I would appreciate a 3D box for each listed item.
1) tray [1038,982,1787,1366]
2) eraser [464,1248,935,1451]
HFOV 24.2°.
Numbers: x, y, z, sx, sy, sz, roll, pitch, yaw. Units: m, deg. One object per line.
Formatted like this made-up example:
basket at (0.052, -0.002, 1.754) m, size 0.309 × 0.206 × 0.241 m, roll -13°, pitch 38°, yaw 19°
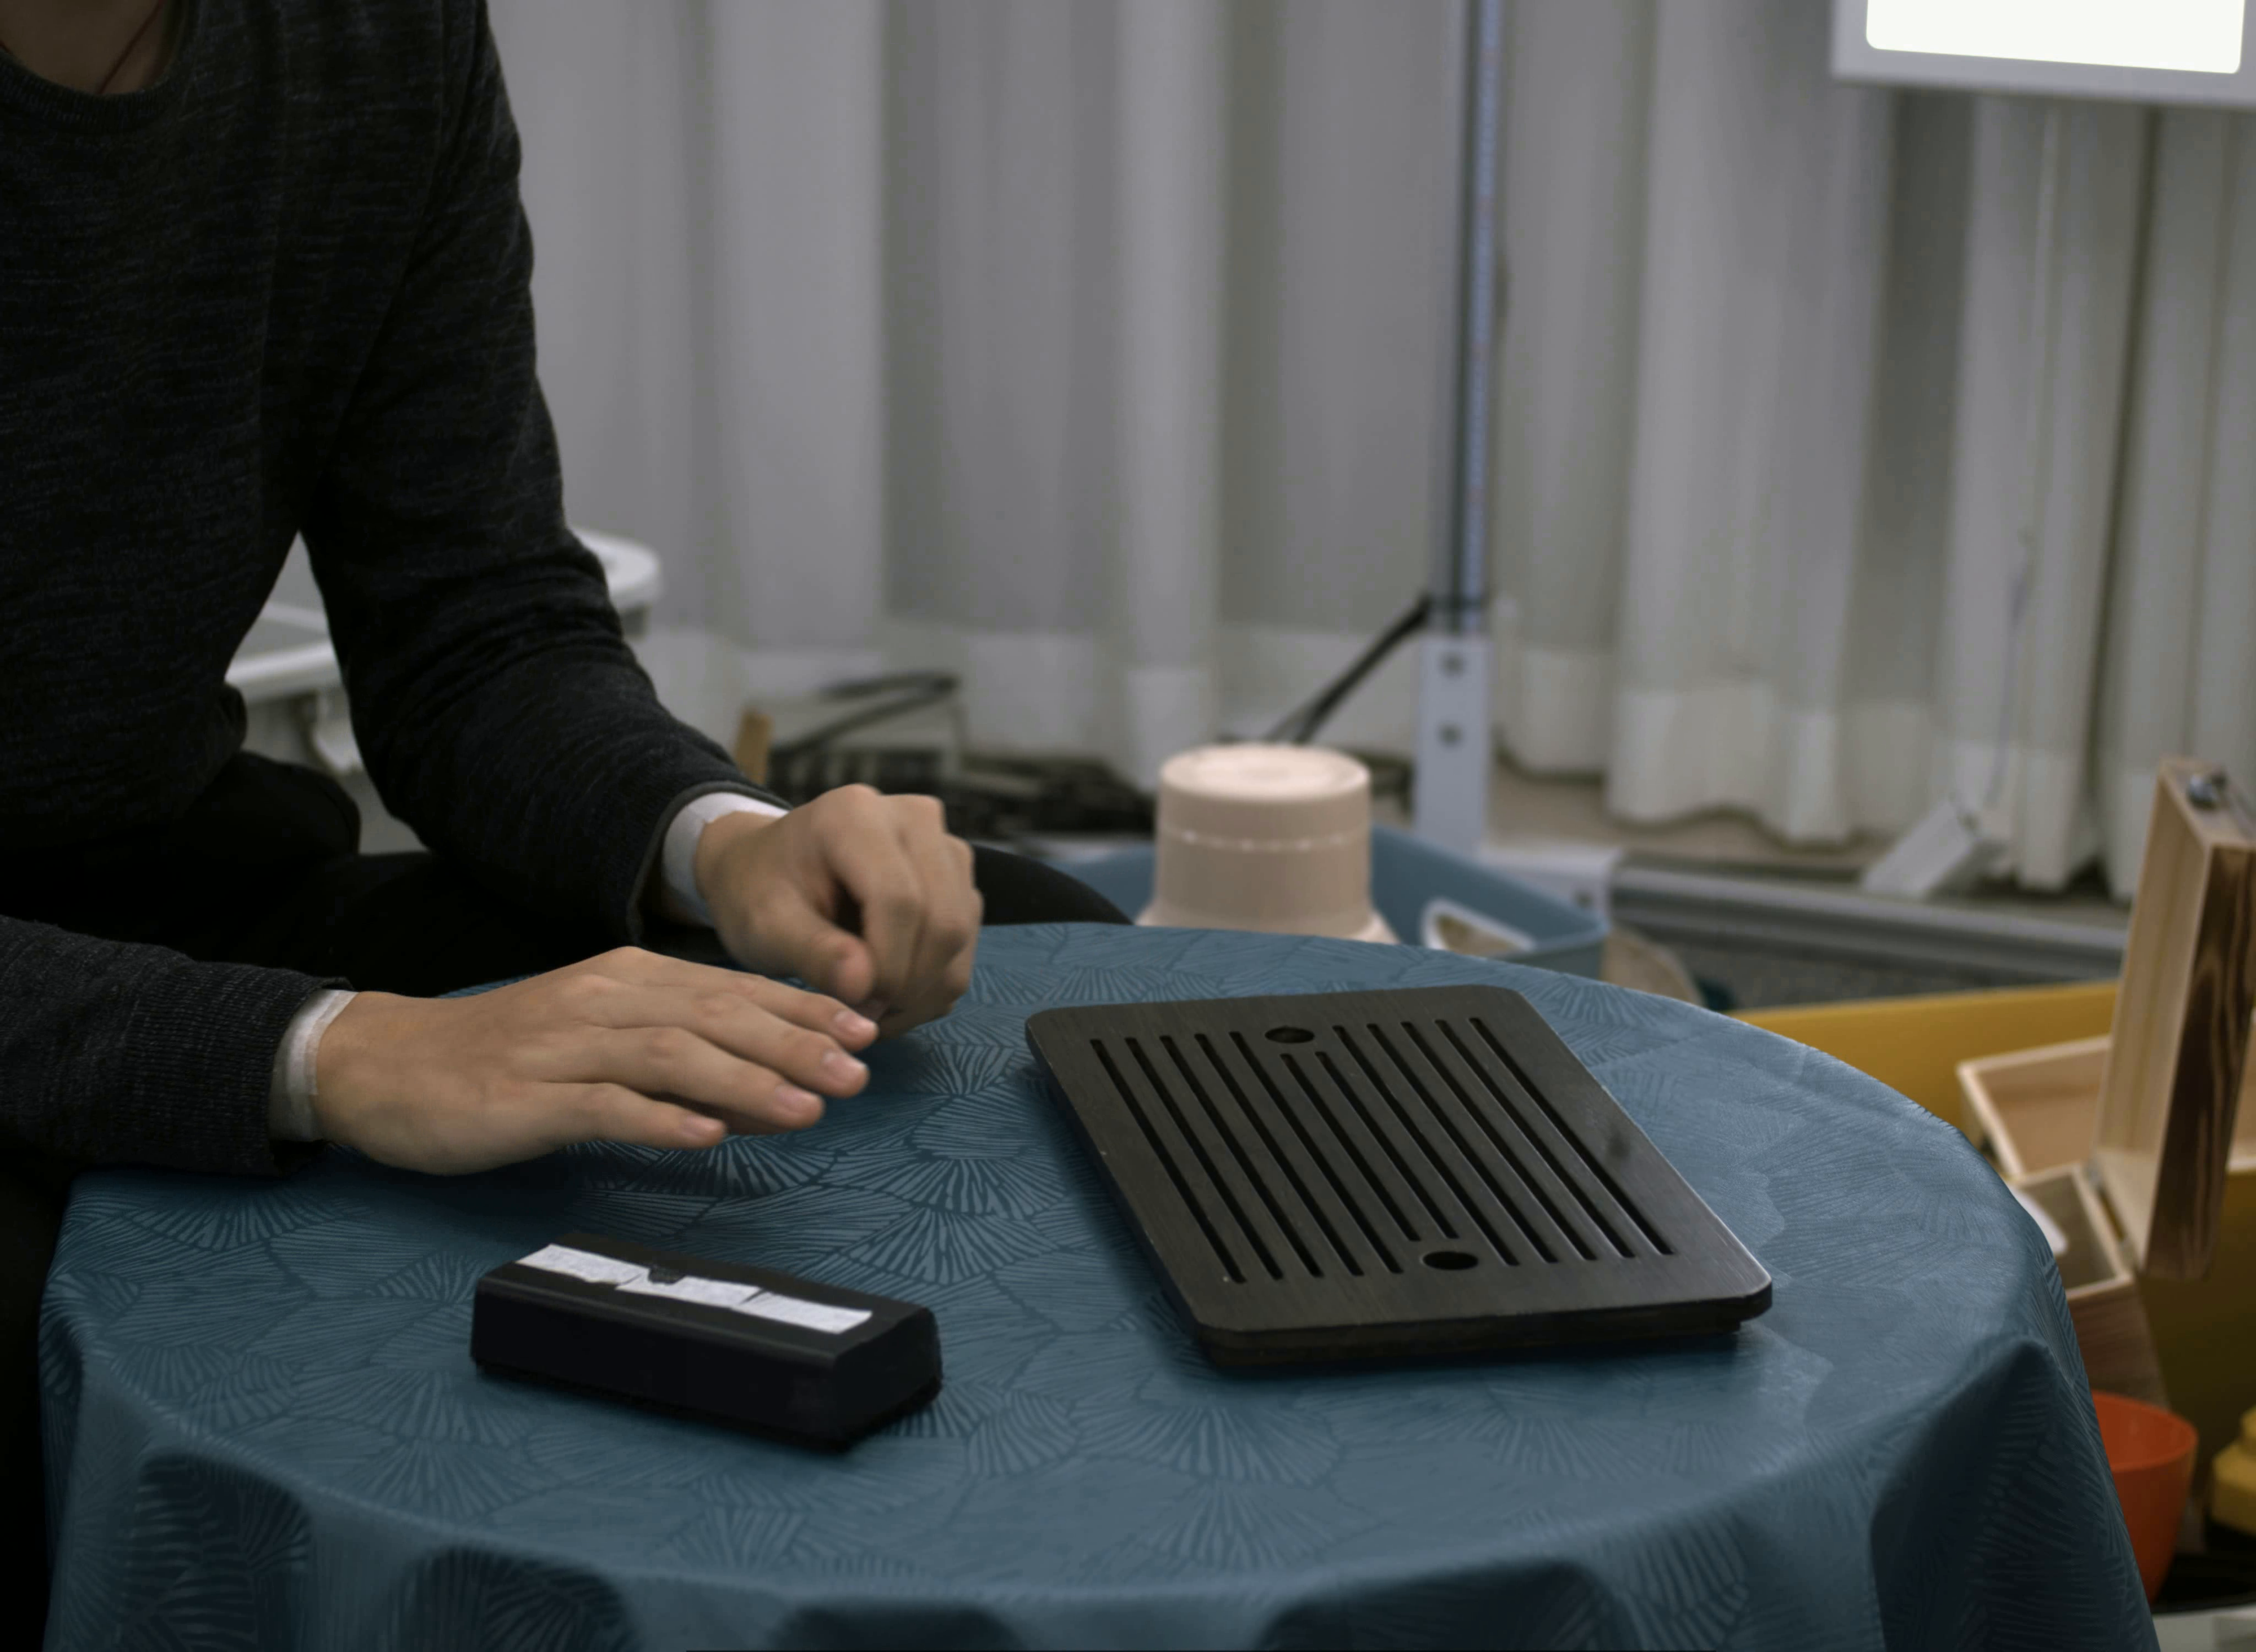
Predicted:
tray at (0.079, 0.104, 1.620) m, size 0.170 × 0.019 × 0.303 m, roll -3°, pitch 16°, yaw -11°
eraser at (-0.118, 0.143, 1.454) m, size 0.124 × 0.030 × 0.054 m, roll 8°, pitch 14°, yaw 28°
